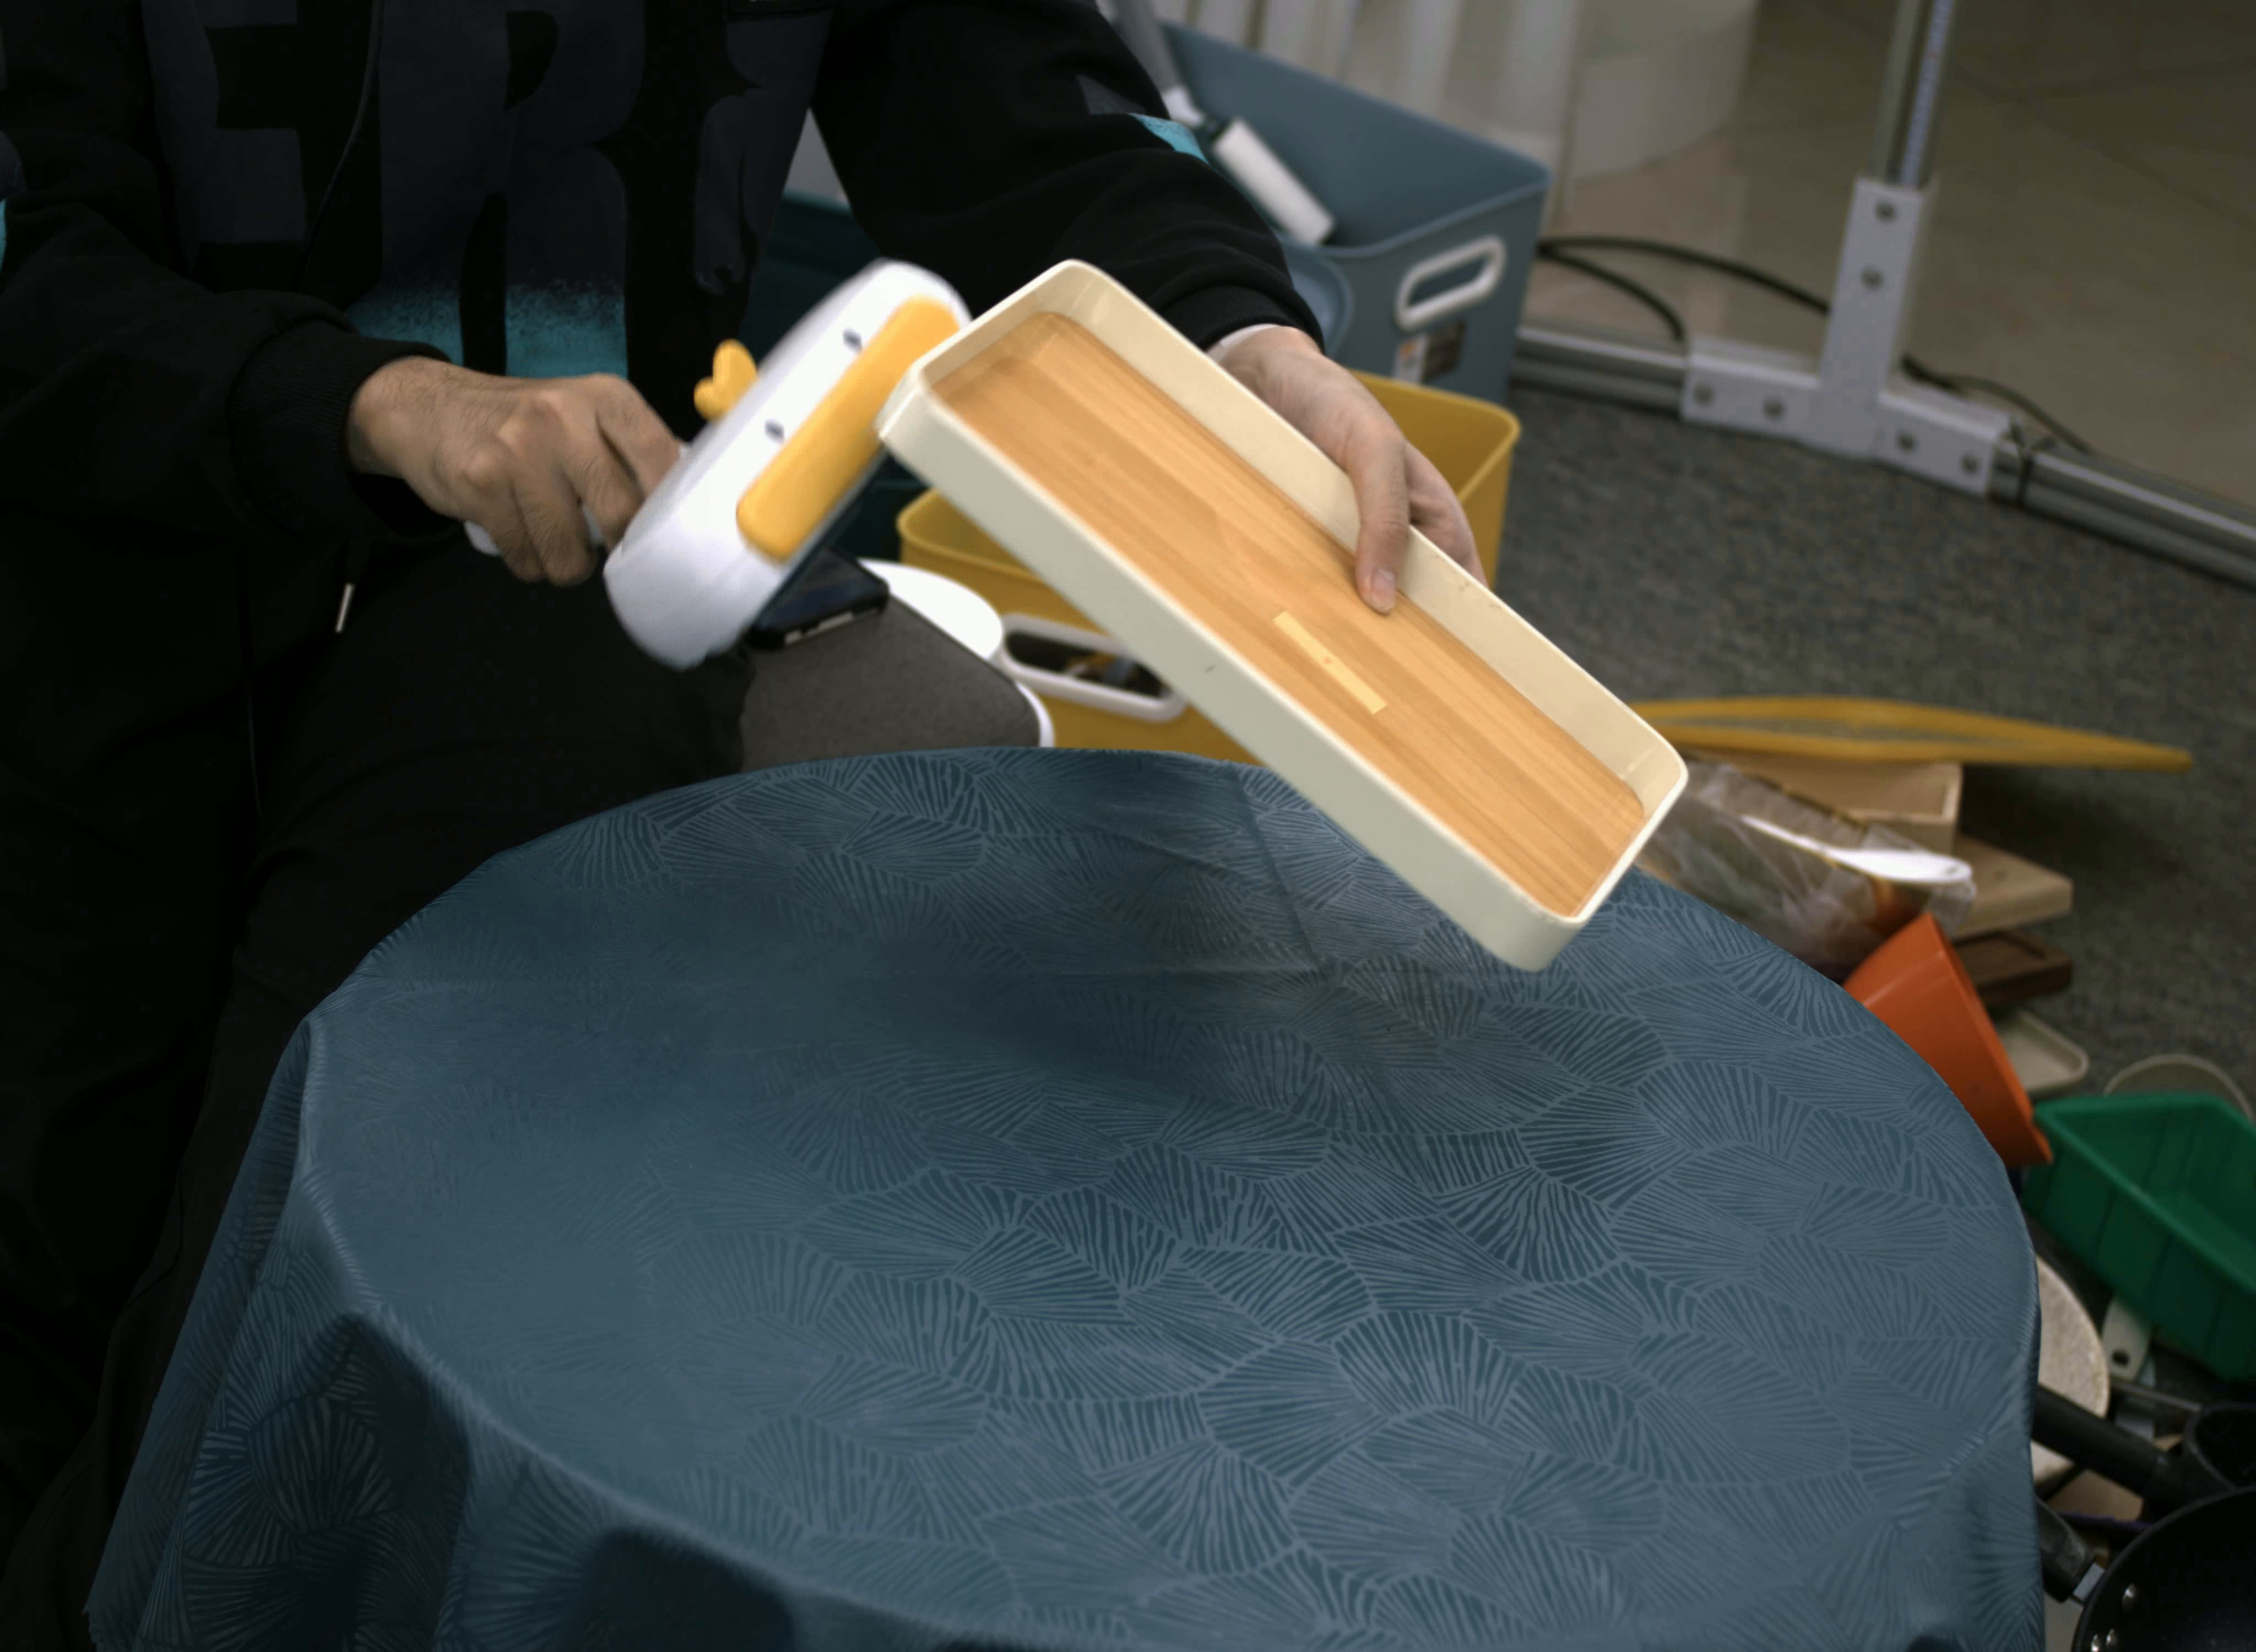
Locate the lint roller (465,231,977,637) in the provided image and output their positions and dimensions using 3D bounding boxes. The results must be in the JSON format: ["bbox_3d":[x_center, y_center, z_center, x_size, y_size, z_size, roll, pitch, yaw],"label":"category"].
[{"bbox_3d":[-0.160,-0.125,1.916,0.193,0.074,0.193,-25,26,40],"label":"lint roller"}]

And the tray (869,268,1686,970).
[{"bbox_3d":[0.057,-0.077,1.878,0.300,0.027,0.191,40,26,4],"label":"tray"}]
